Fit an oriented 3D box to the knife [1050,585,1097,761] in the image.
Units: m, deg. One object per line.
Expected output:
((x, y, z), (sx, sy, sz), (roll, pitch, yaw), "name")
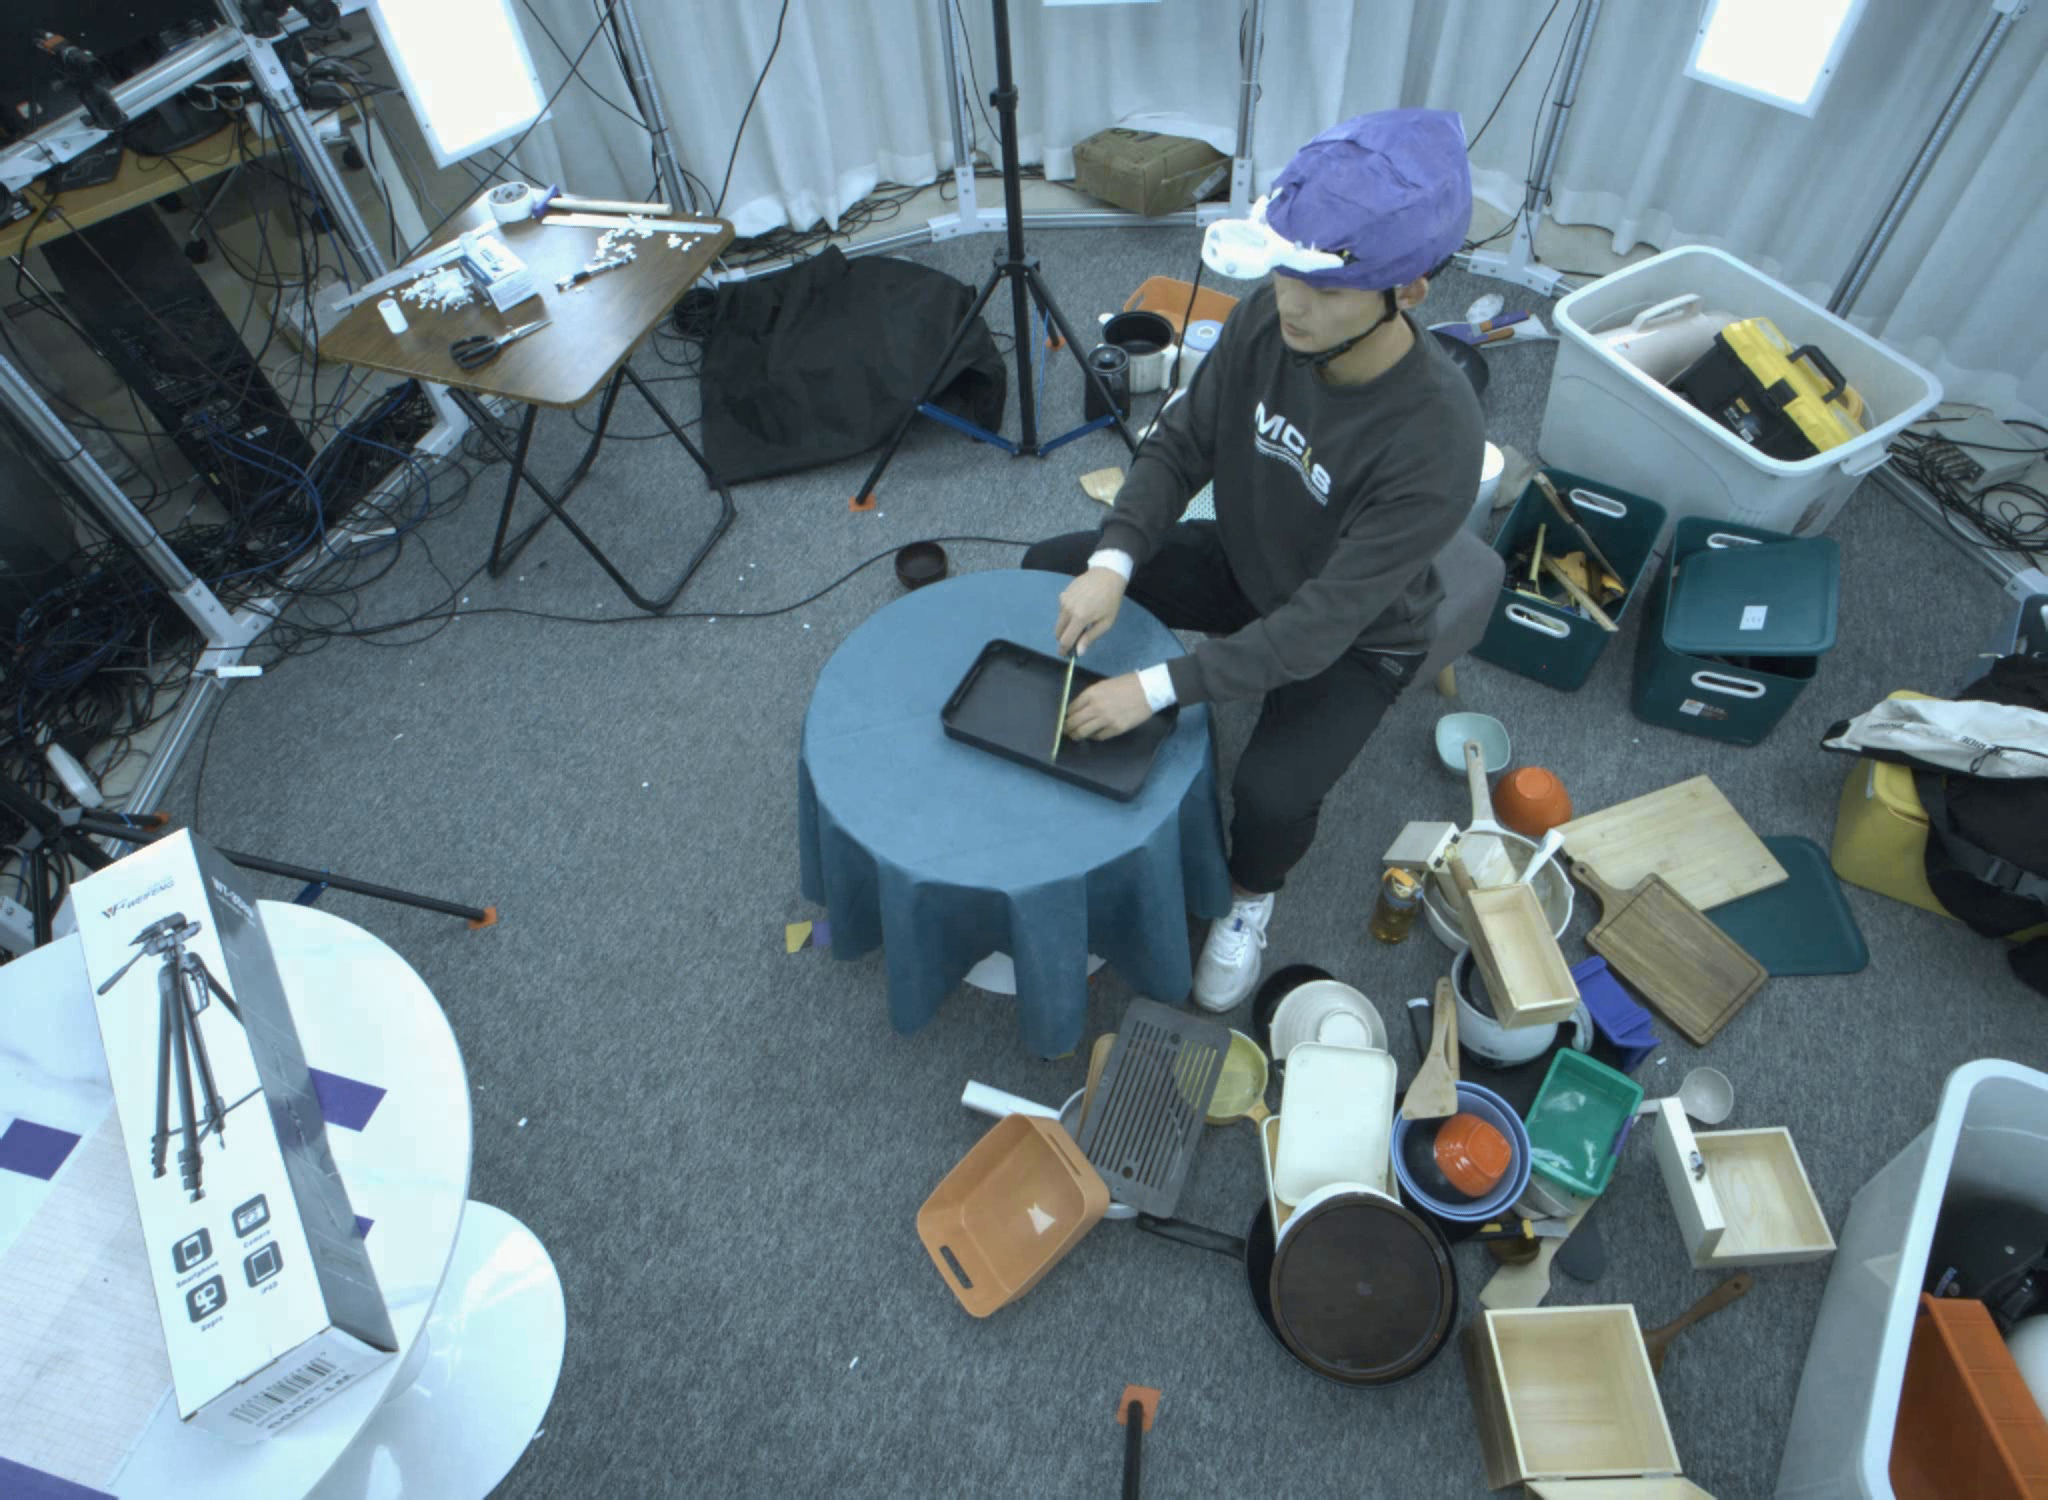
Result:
((0.068, -0.114, 1.804), (0.027, 0.081, 0.288), (15, 67, -5), "knife")

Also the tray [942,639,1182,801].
((0.056, -0.047, 1.804), (0.314, 0.037, 0.184), (20, 57, 14), "tray")
